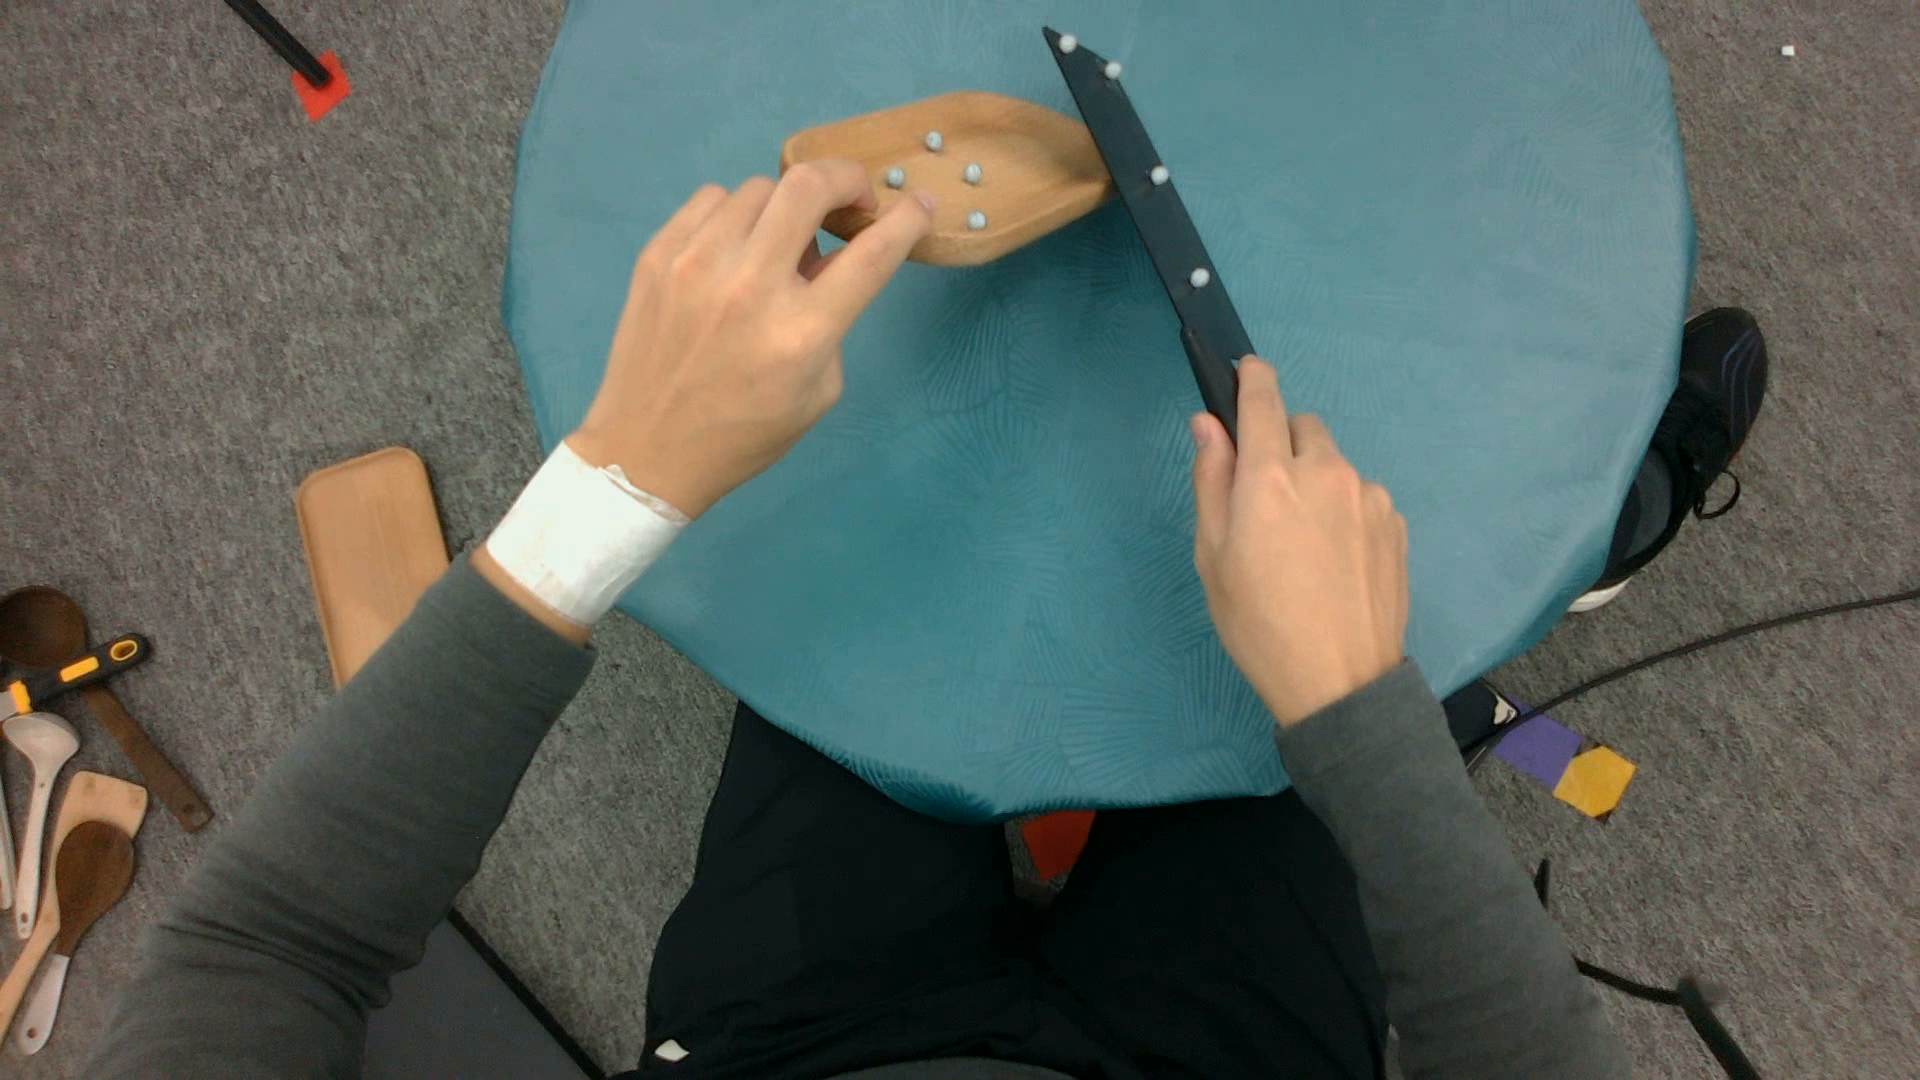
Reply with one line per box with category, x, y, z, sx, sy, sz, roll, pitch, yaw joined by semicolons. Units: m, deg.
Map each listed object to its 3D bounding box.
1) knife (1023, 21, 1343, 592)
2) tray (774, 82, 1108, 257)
knife;0.101;-0.114;0.626;0.021;0.081;0.303;-35;65;34
tray;0.001;-0.171;0.620;0.101;0.232;0.020;29;122;13
